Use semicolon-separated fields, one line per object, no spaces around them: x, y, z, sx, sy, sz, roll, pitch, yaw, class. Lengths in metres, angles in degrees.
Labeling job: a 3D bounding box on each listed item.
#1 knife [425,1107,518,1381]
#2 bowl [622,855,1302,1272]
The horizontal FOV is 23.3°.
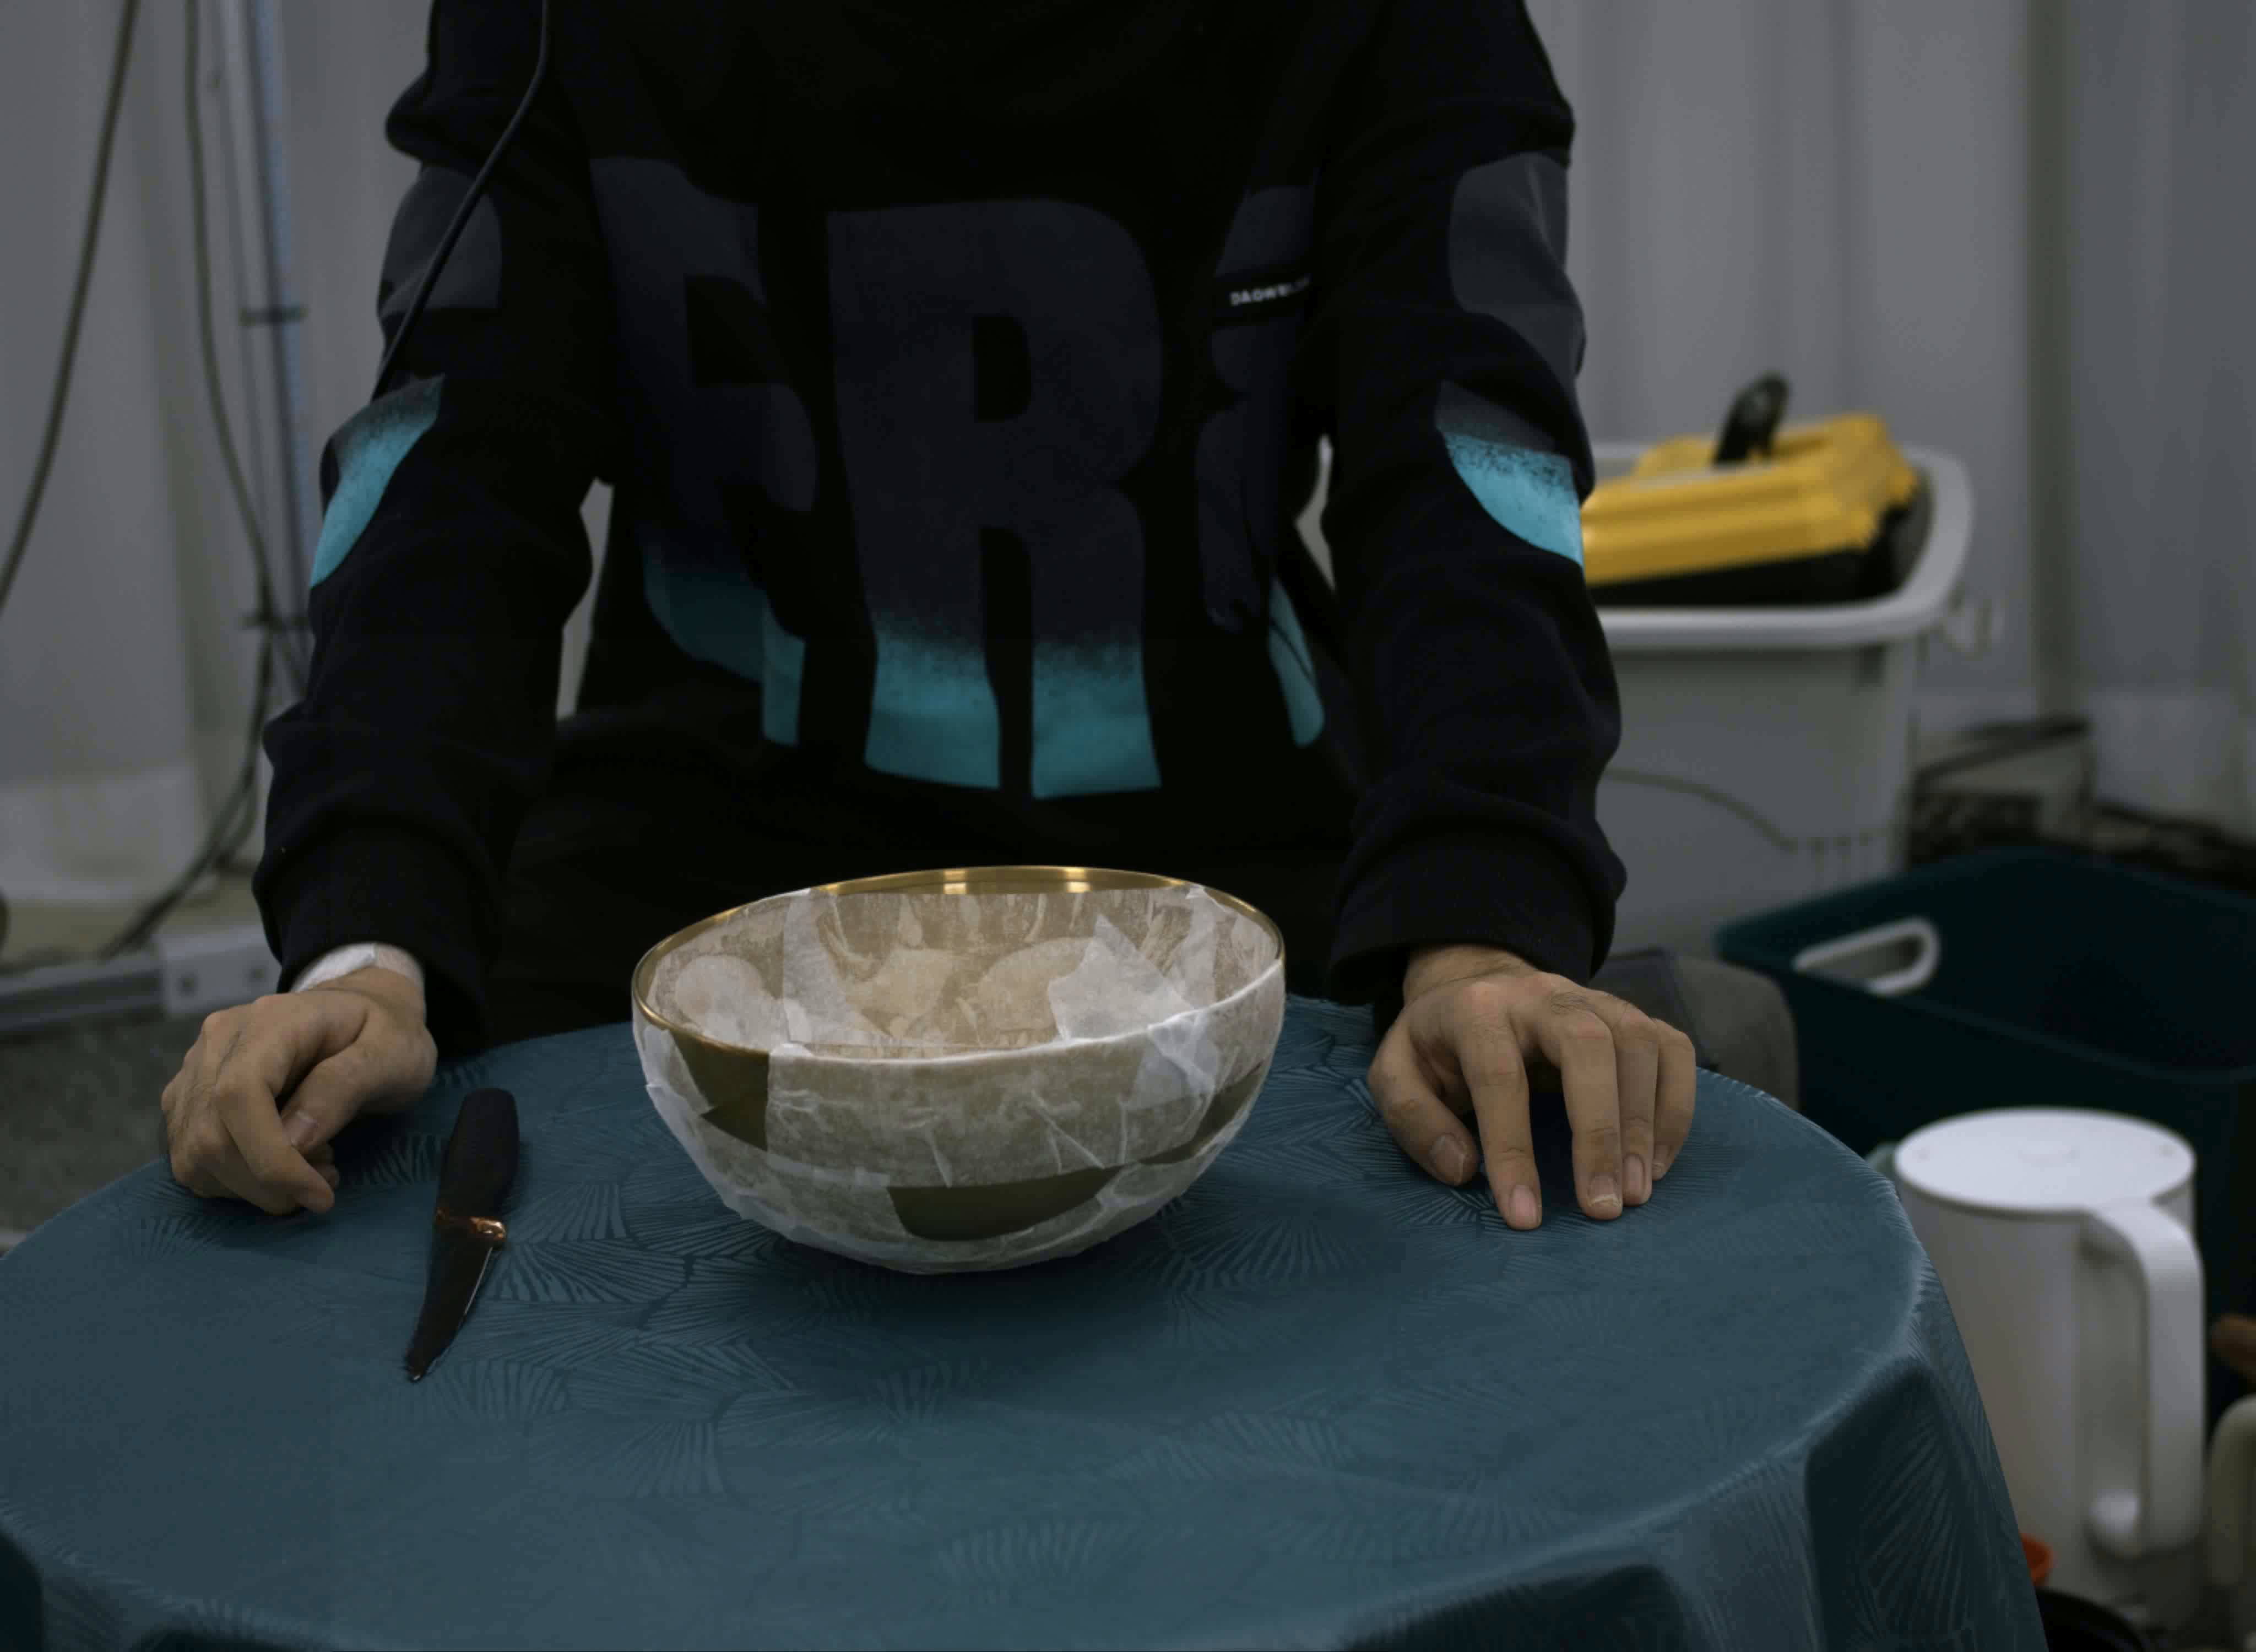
-0.204;0.128;1.687;0.026;0.017;0.227;3;16;-3;knife
-0.048;0.080;1.672;0.214;0.094;0.216;-4;15;1;bowl
